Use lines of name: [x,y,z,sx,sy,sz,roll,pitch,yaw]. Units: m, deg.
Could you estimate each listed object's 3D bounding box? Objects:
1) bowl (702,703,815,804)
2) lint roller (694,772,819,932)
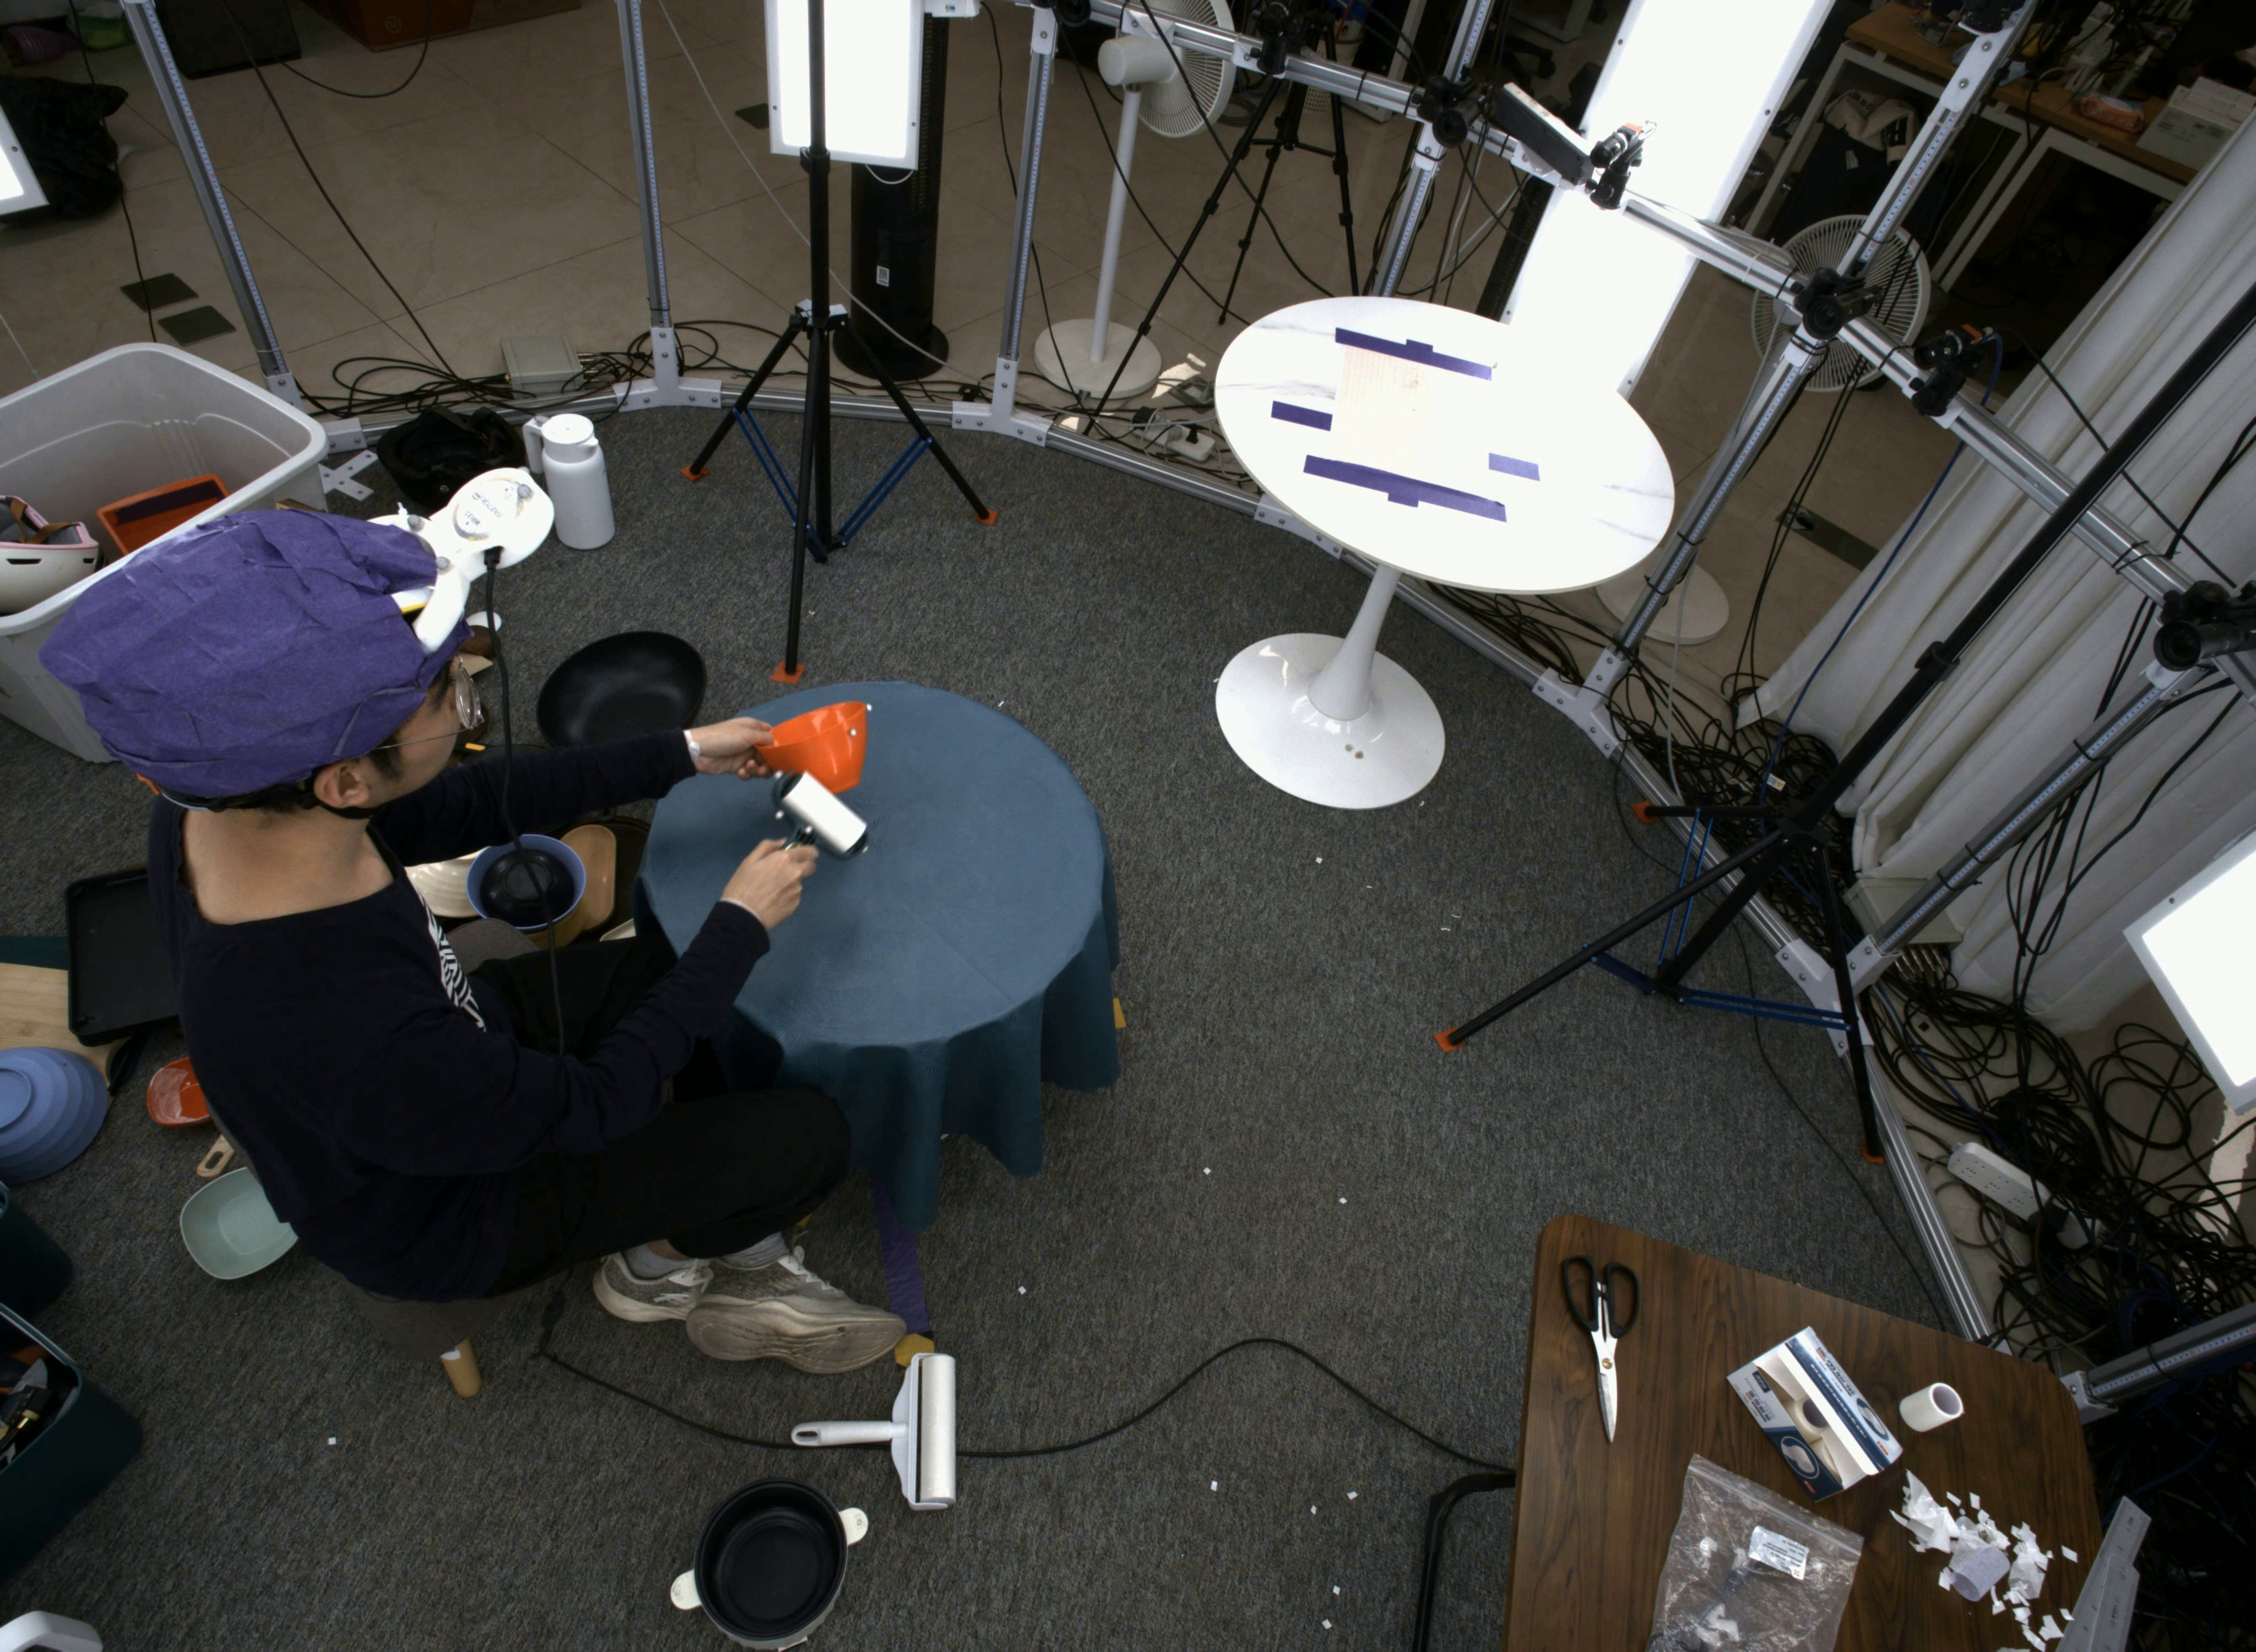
bowl: [-0.450,-0.084,1.628,0.148,0.144,0.107,-31,104,-31]
lint roller: [-0.452,0.043,1.517,0.138,0.047,0.178,42,51,-25]
